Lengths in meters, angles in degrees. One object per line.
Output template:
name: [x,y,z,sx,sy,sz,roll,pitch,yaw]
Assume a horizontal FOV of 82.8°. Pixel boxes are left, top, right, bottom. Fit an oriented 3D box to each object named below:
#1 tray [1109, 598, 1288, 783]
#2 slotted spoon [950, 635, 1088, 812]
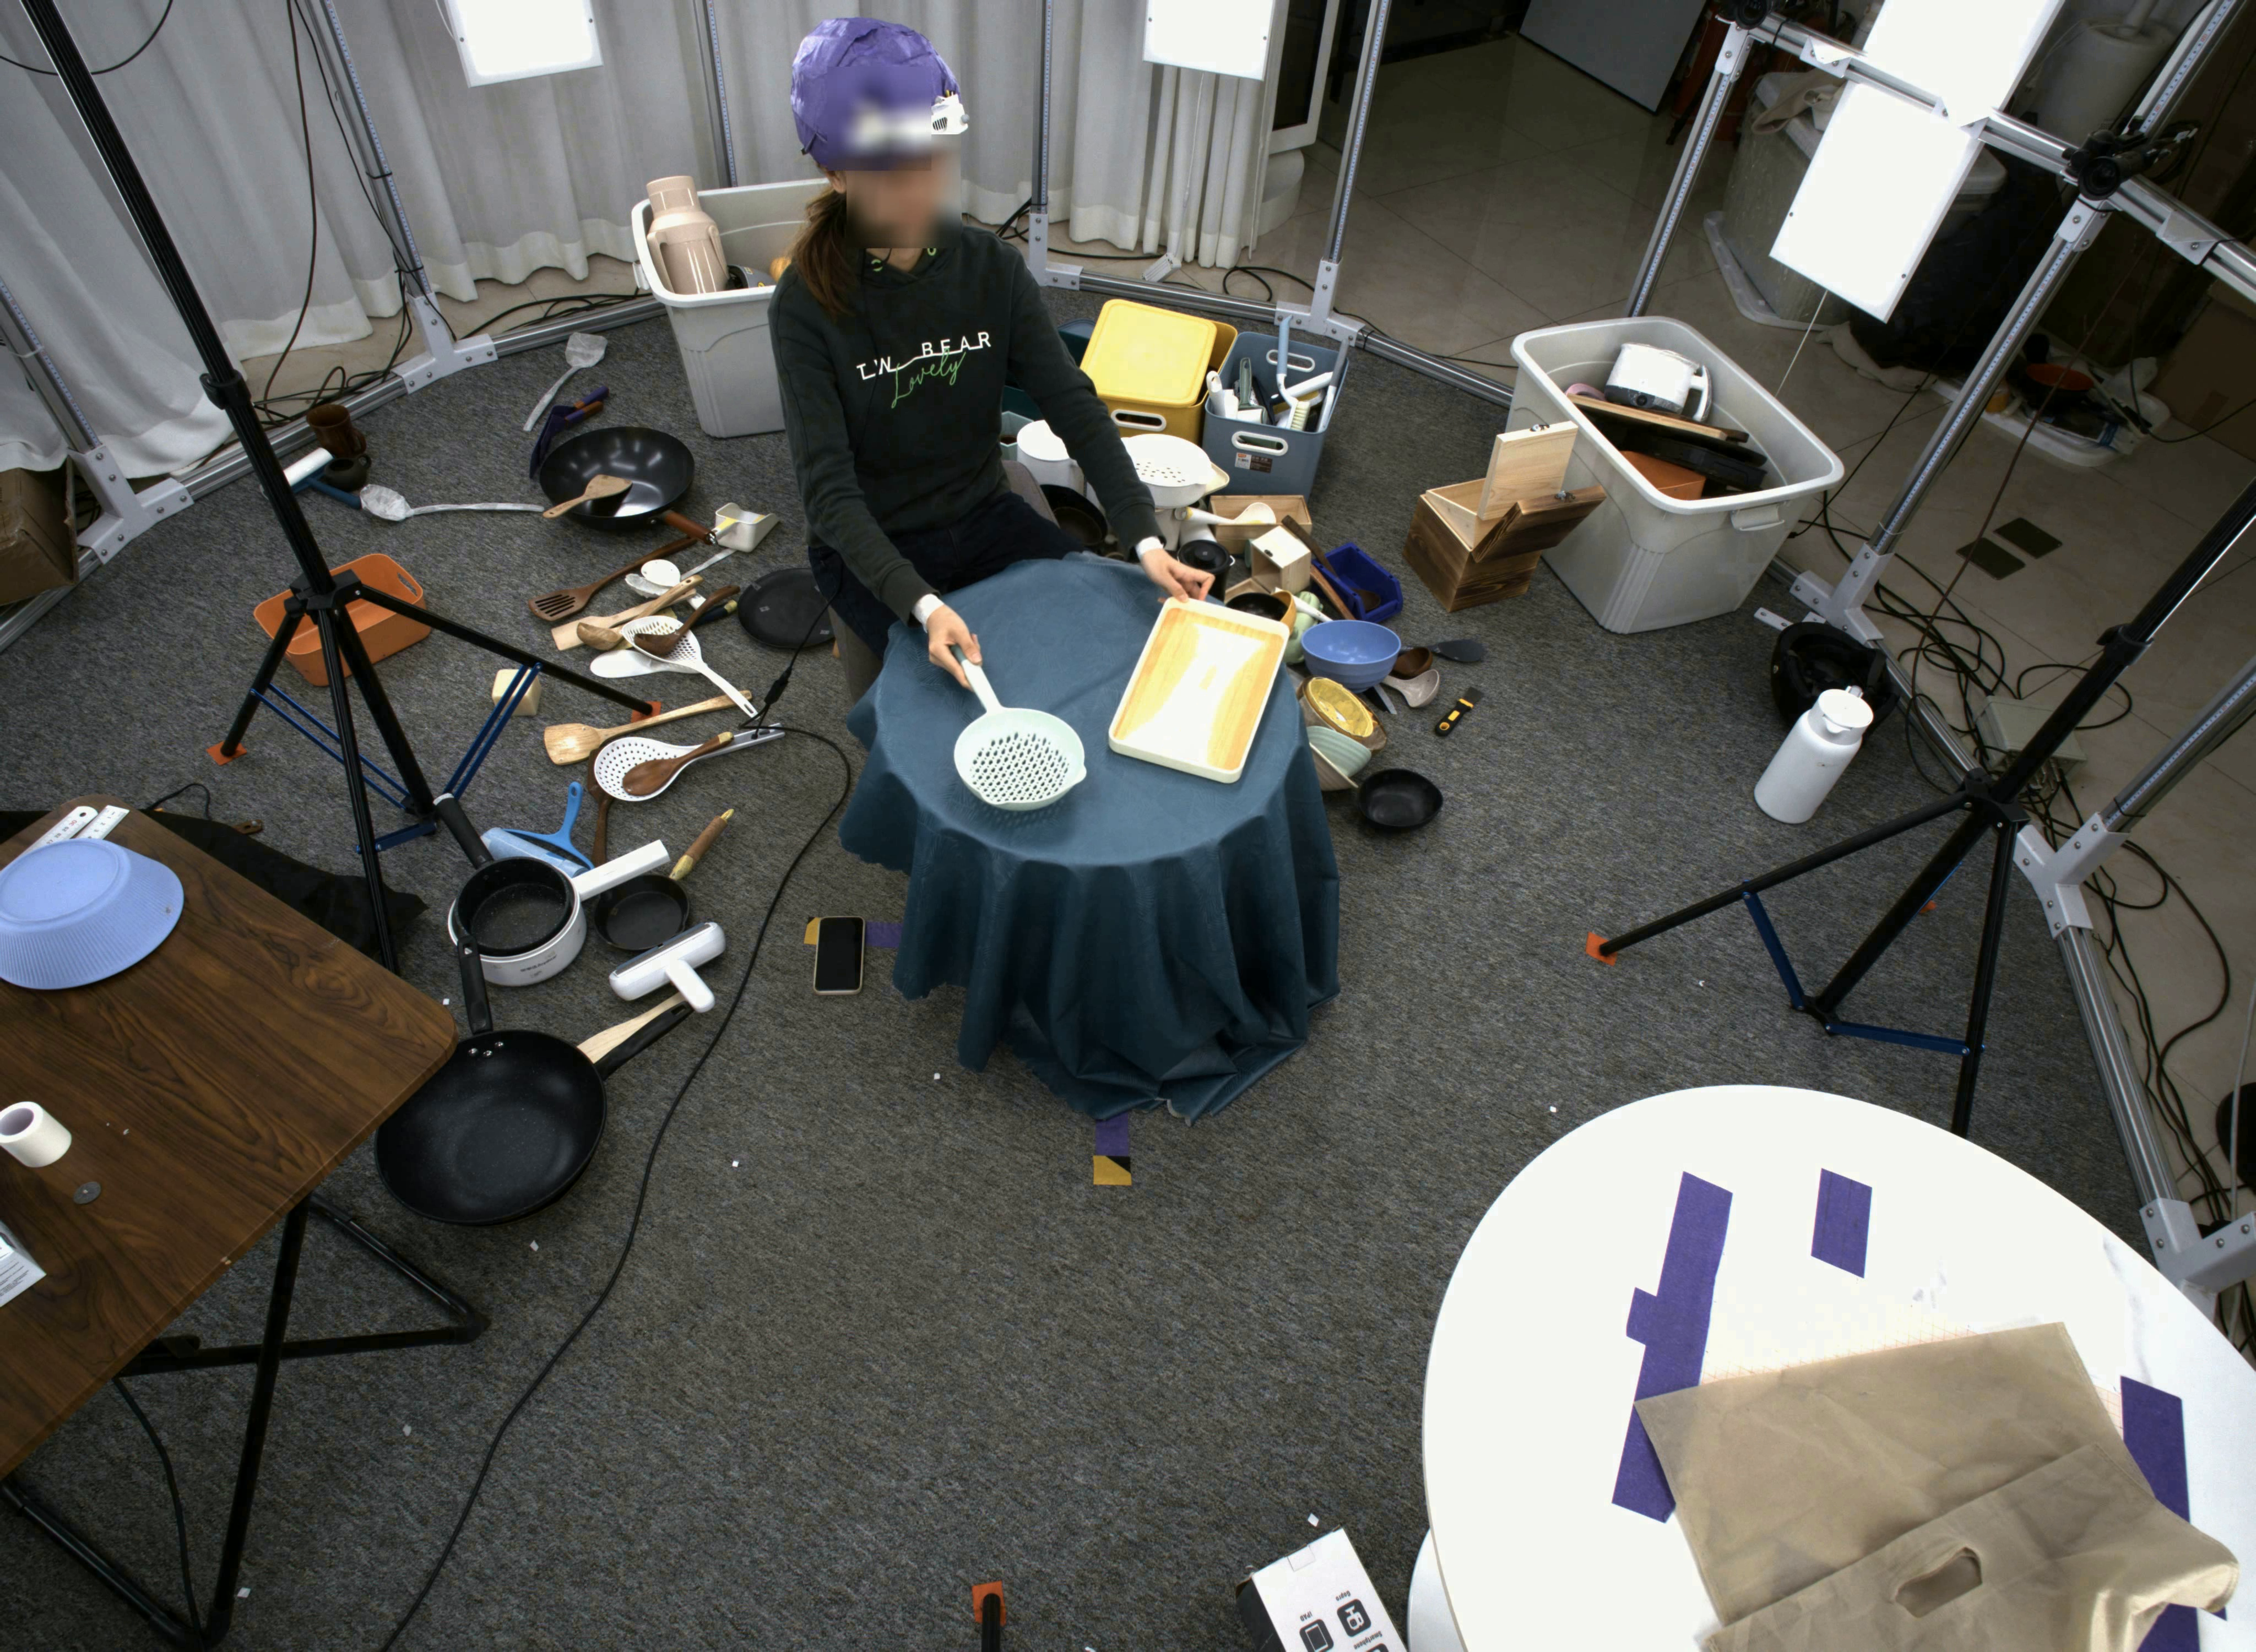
tray: [0.104,-0.200,1.835,0.192,0.027,0.306,16,53,10]
slotted spoon: [-0.180,-0.154,1.751,0.169,0.073,0.366,-16,58,-18]
